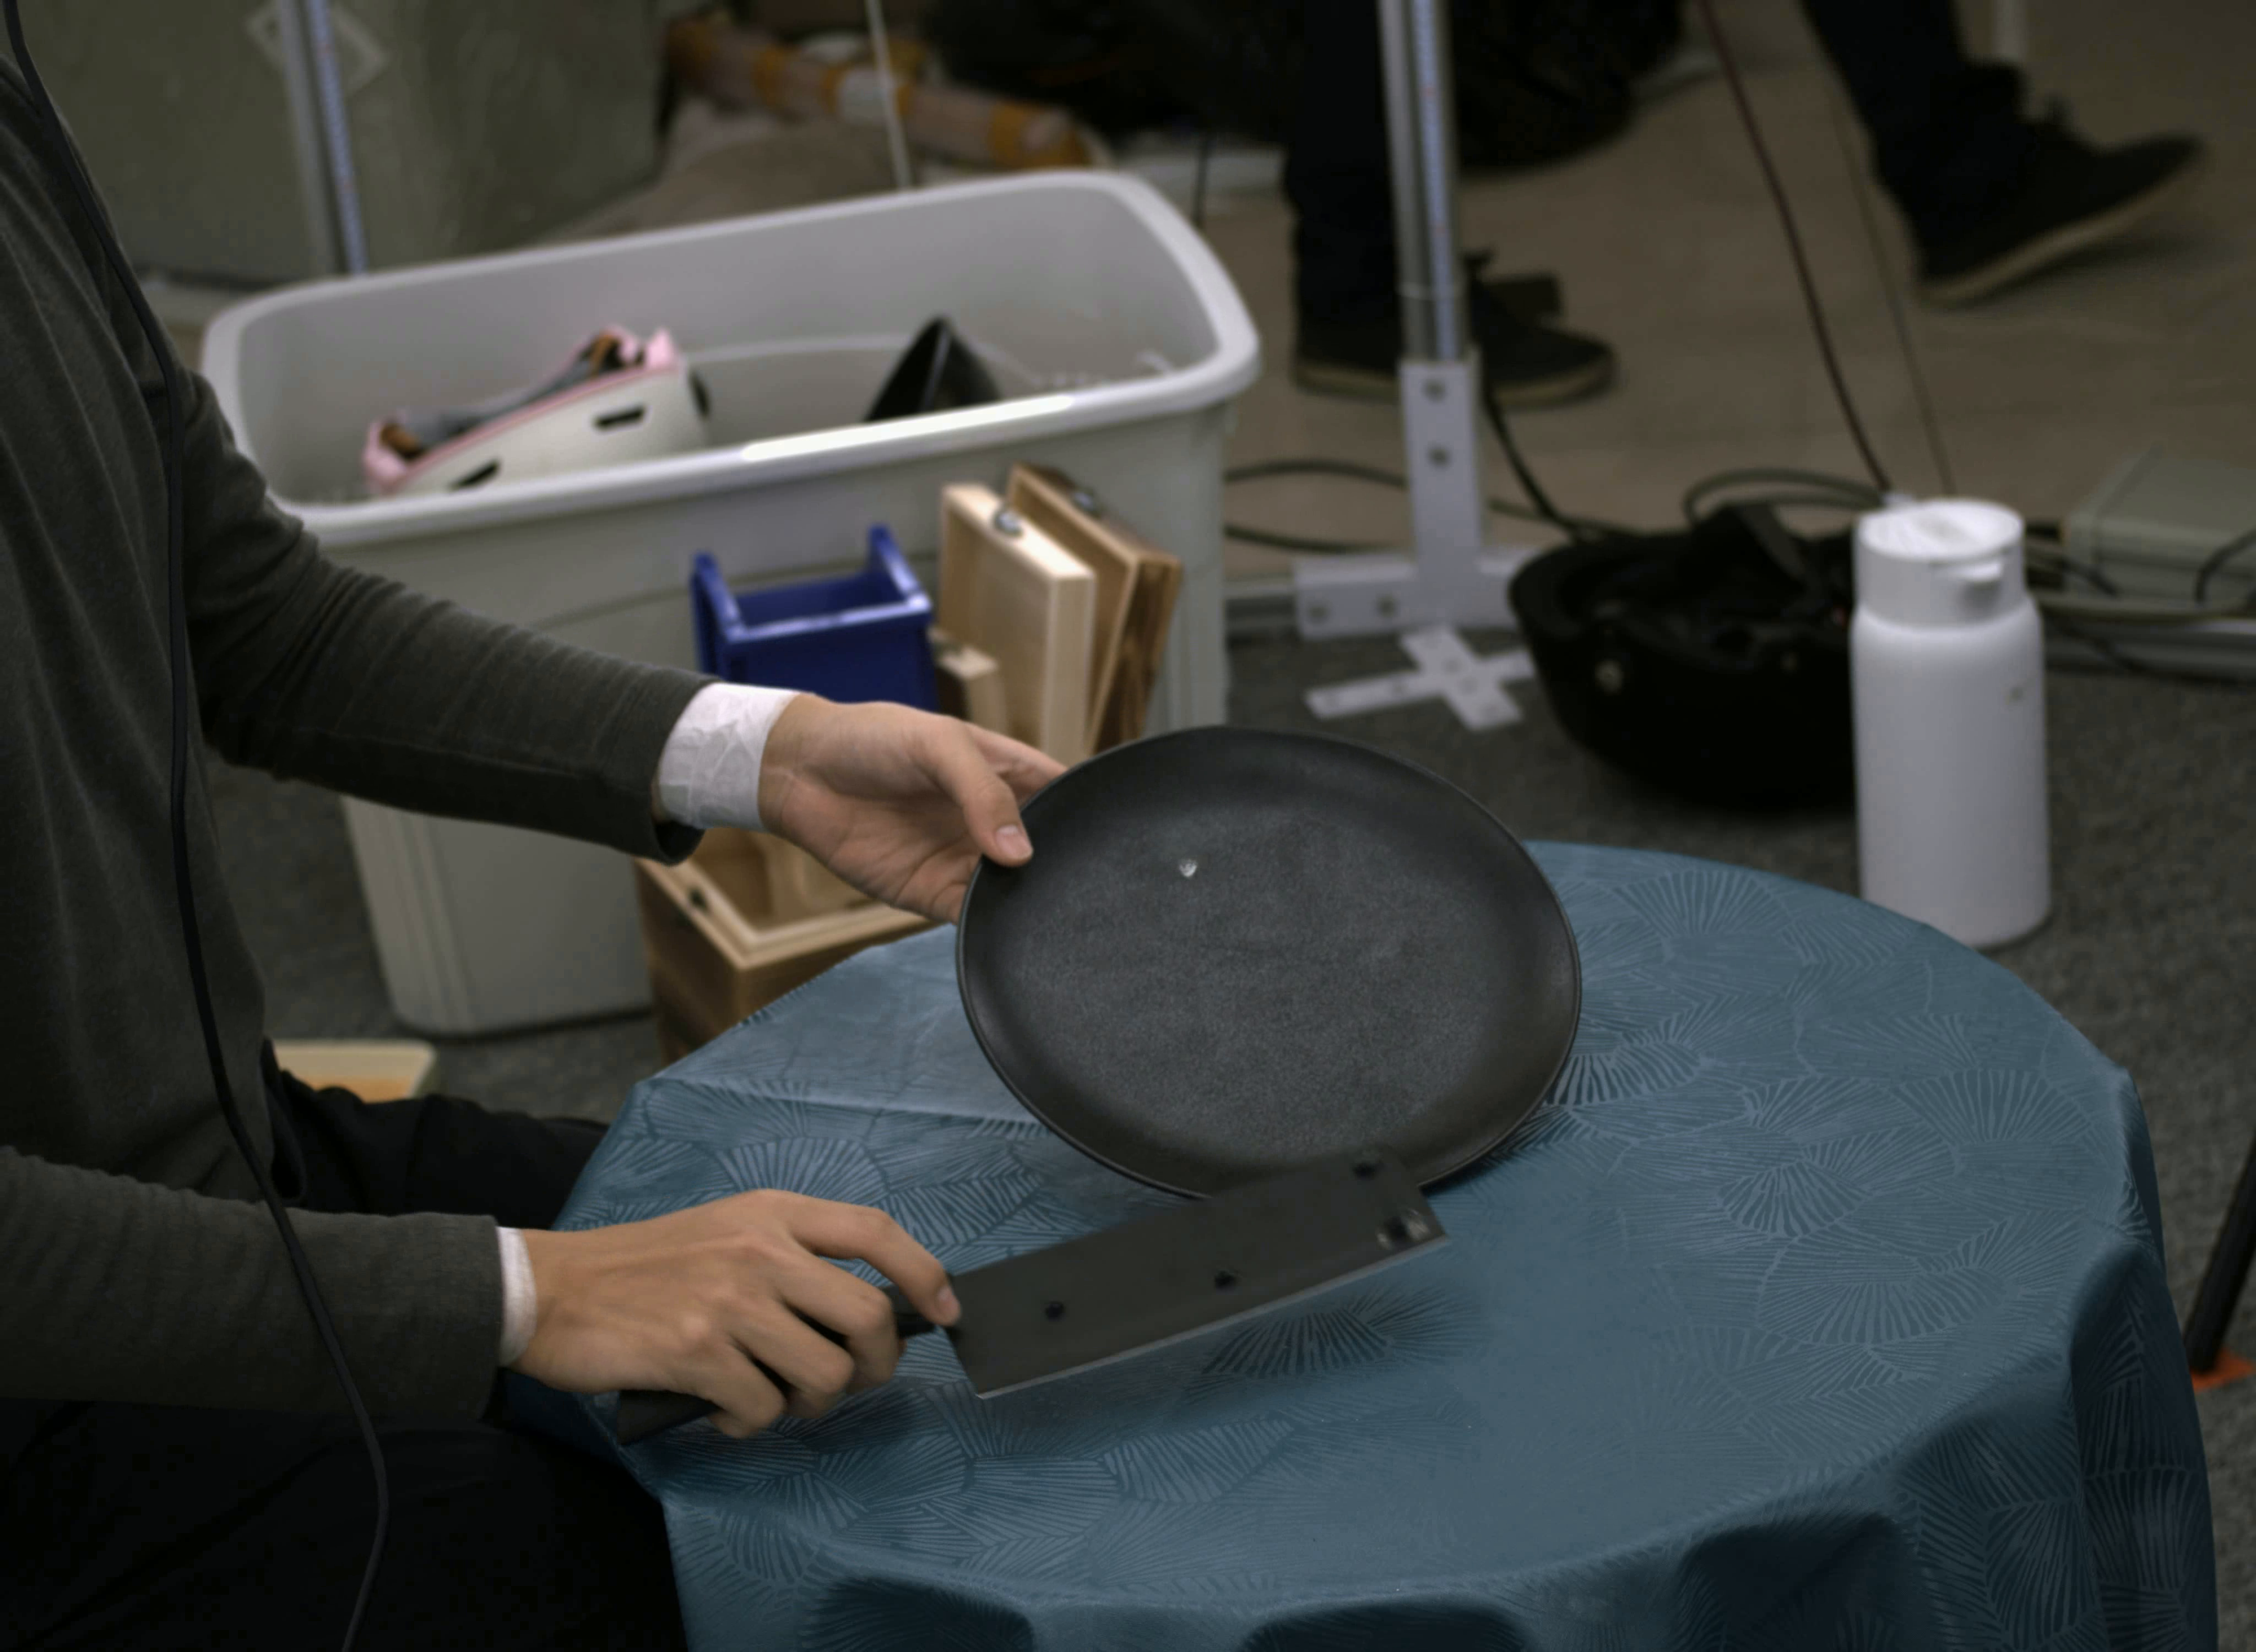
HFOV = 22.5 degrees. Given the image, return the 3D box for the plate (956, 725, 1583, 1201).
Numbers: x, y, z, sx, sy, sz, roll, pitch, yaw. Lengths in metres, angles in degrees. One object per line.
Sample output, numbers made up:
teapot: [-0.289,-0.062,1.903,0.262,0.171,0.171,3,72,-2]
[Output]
plate: [0.054,0.058,2.192,0.244,0.024,0.240,3,50,-4]

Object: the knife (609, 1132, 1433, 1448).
knife: [-0.040,0.169,2.016,0.301,0.021,0.079,-15,37,-9]
